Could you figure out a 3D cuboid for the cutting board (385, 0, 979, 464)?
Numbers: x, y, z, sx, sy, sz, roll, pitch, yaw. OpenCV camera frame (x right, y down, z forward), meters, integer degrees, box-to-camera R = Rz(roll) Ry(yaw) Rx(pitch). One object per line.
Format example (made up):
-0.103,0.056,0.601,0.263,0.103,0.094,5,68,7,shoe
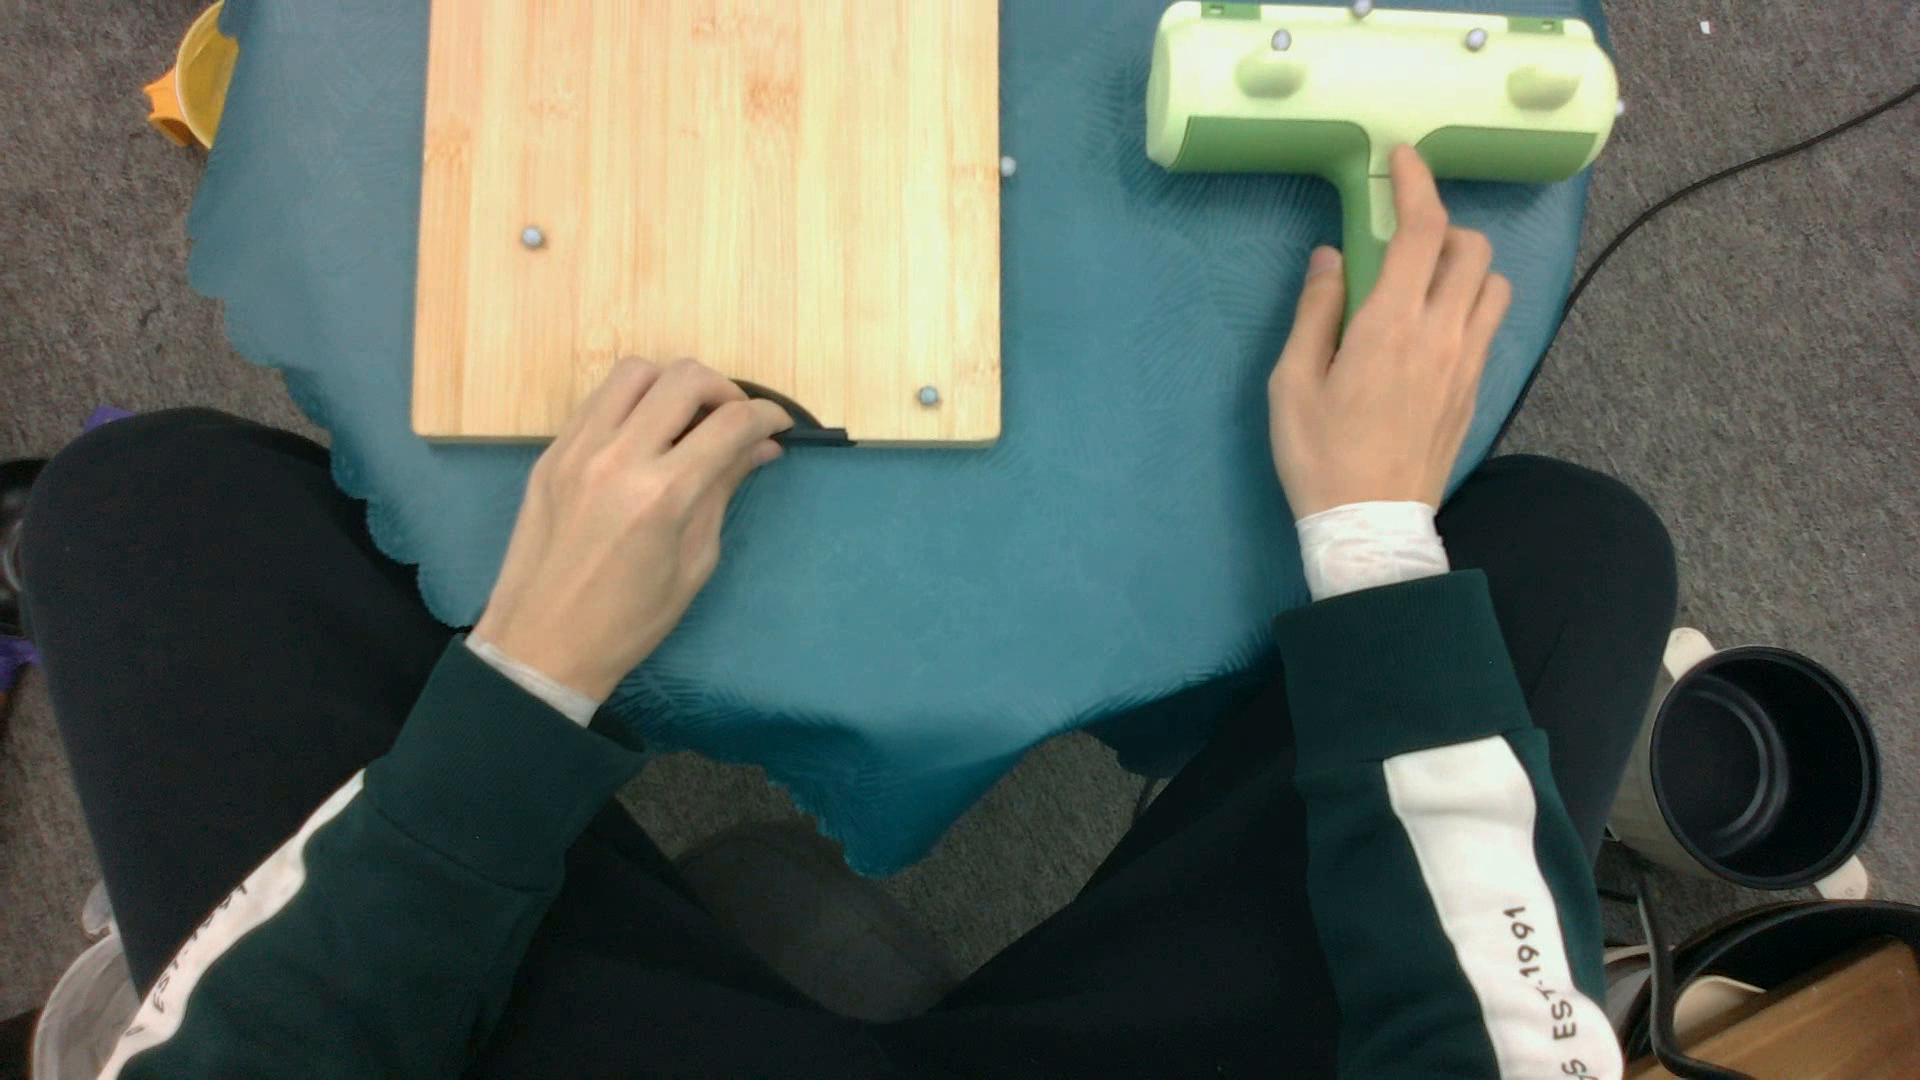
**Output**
-0.118,-0.205,0.599,0.251,0.023,0.349,-2,82,-6,cutting board

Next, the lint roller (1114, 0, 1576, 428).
0.170,-0.145,0.583,0.199,0.082,0.183,-1,77,-7,lint roller
